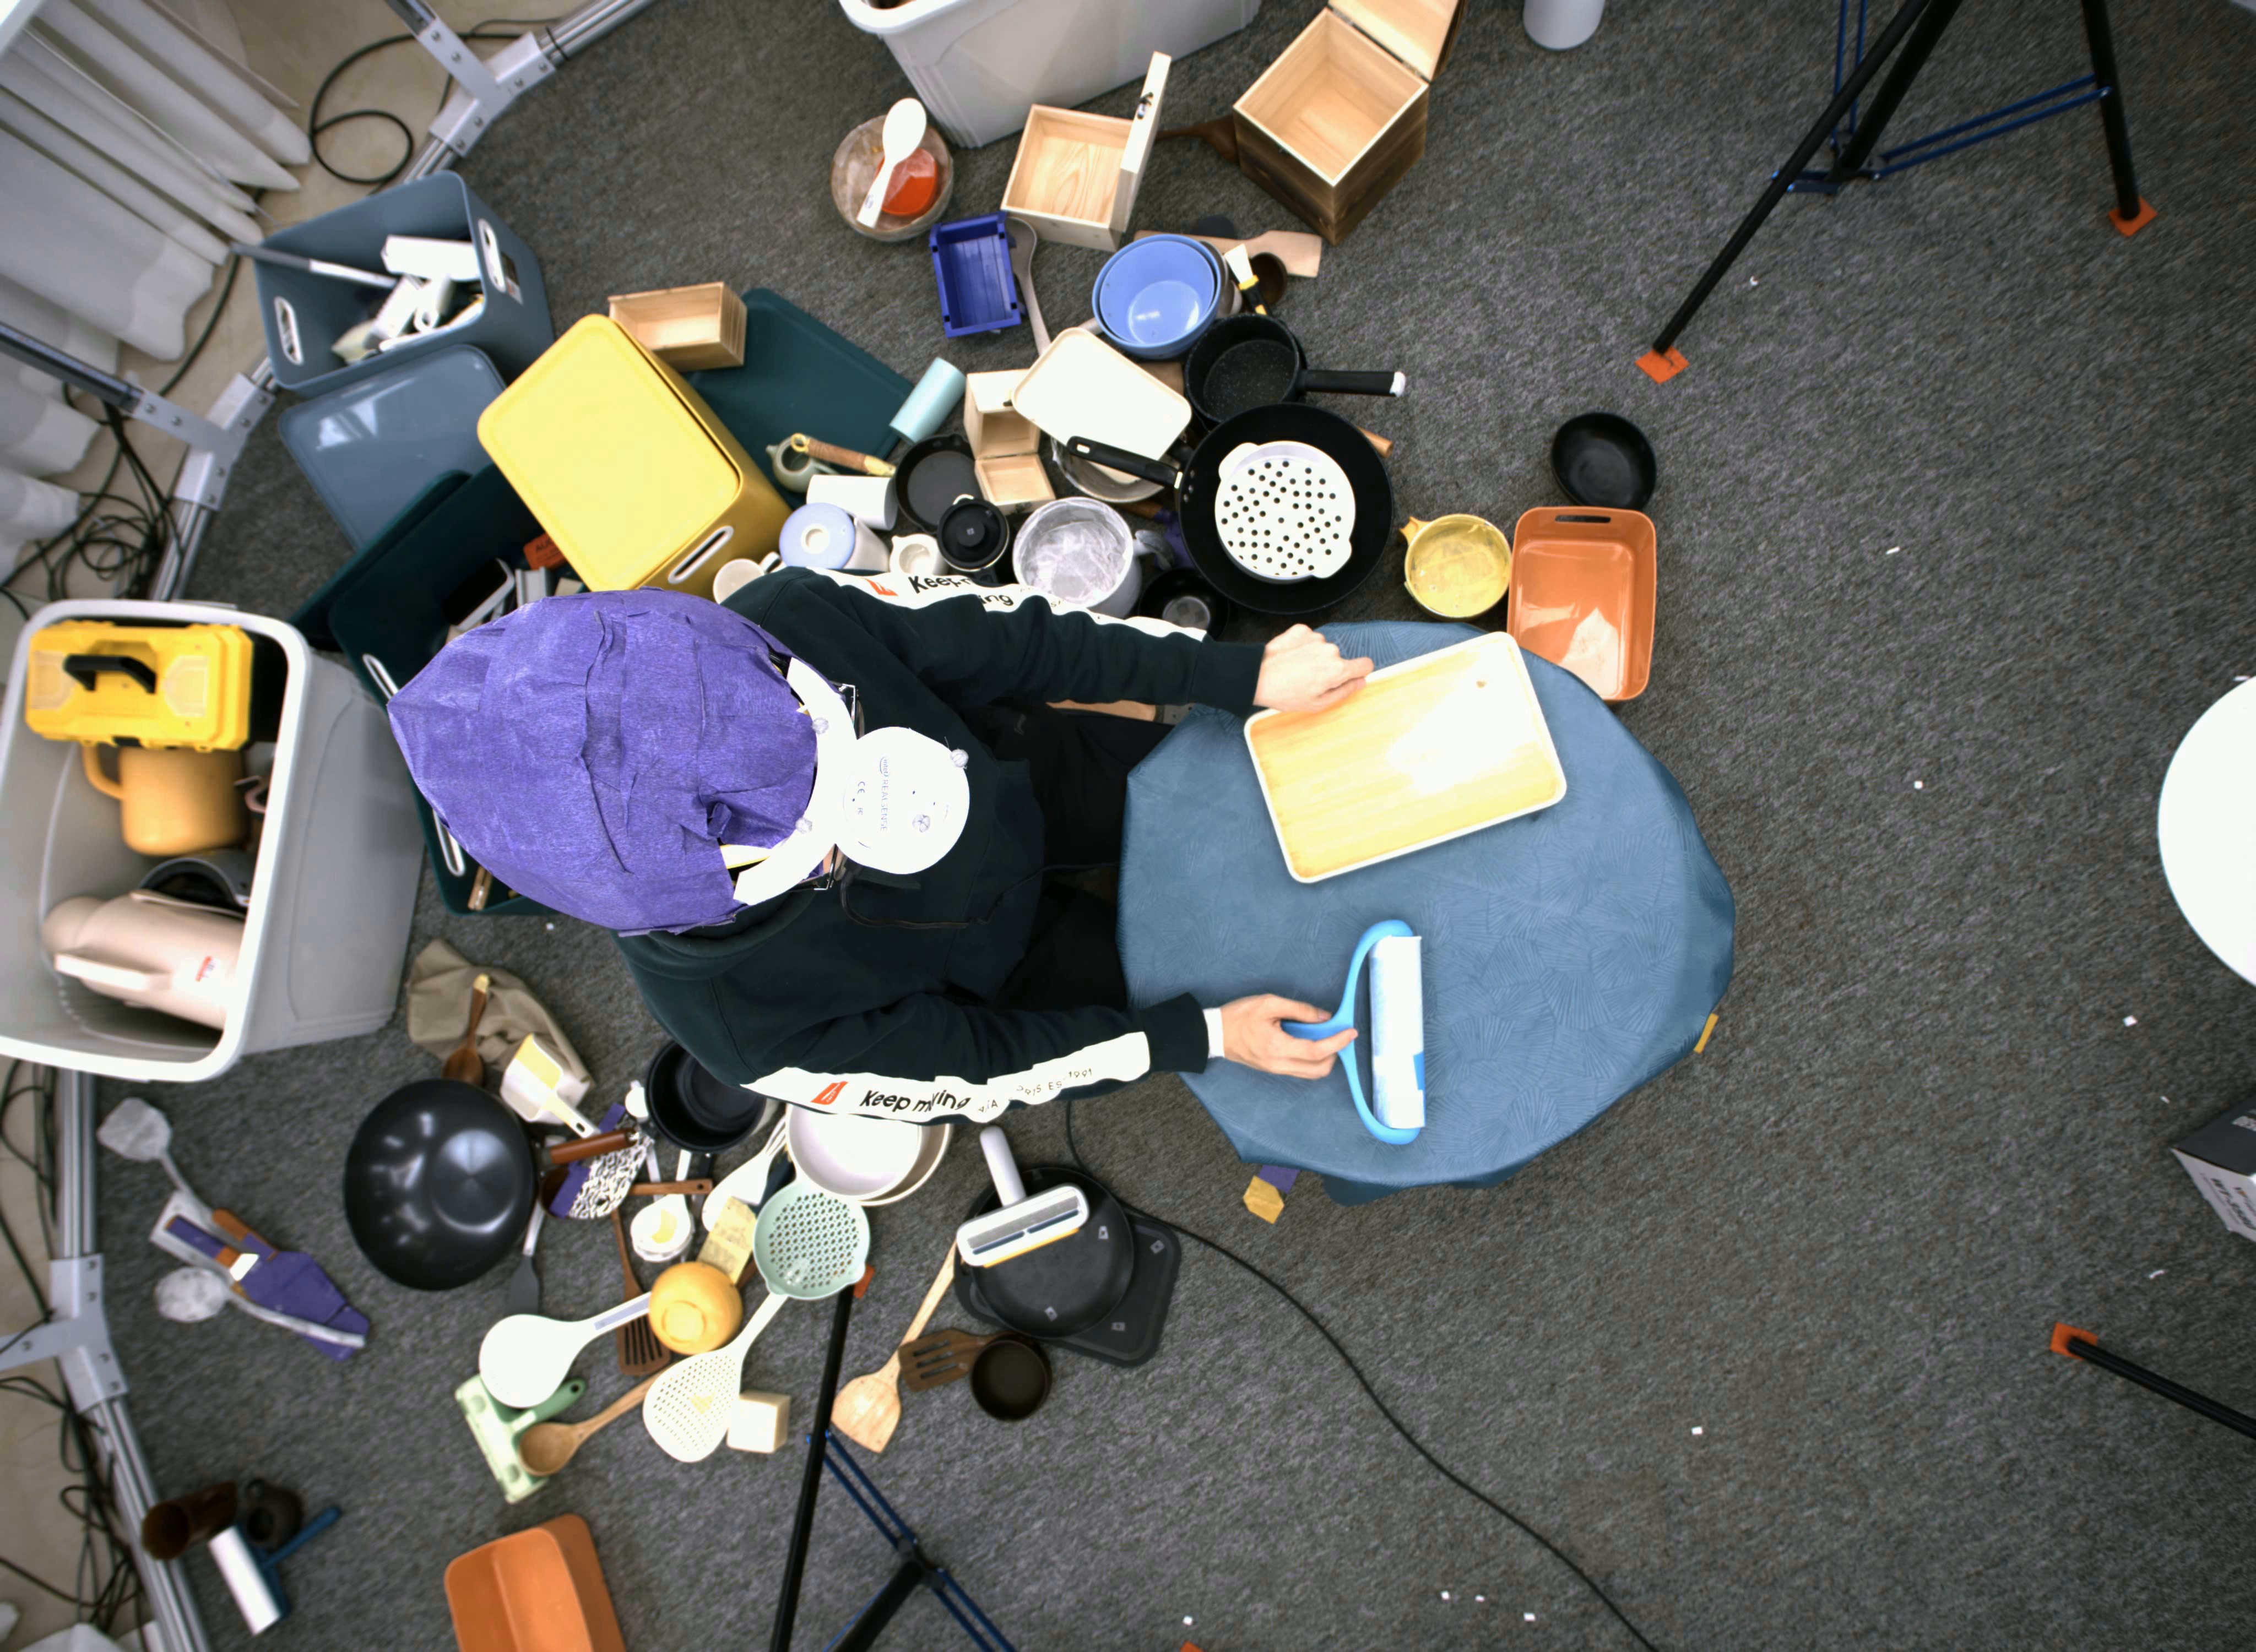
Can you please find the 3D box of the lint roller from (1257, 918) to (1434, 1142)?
[{"bbox_3d":[0.222,0.214,1.429,0.181,0.068,0.228,-6,88,9],"label":"lint roller"}]

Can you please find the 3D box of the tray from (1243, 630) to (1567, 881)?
[{"bbox_3d":[0.287,-0.074,1.443,0.302,0.027,0.191,-18,86,9],"label":"tray"}]
